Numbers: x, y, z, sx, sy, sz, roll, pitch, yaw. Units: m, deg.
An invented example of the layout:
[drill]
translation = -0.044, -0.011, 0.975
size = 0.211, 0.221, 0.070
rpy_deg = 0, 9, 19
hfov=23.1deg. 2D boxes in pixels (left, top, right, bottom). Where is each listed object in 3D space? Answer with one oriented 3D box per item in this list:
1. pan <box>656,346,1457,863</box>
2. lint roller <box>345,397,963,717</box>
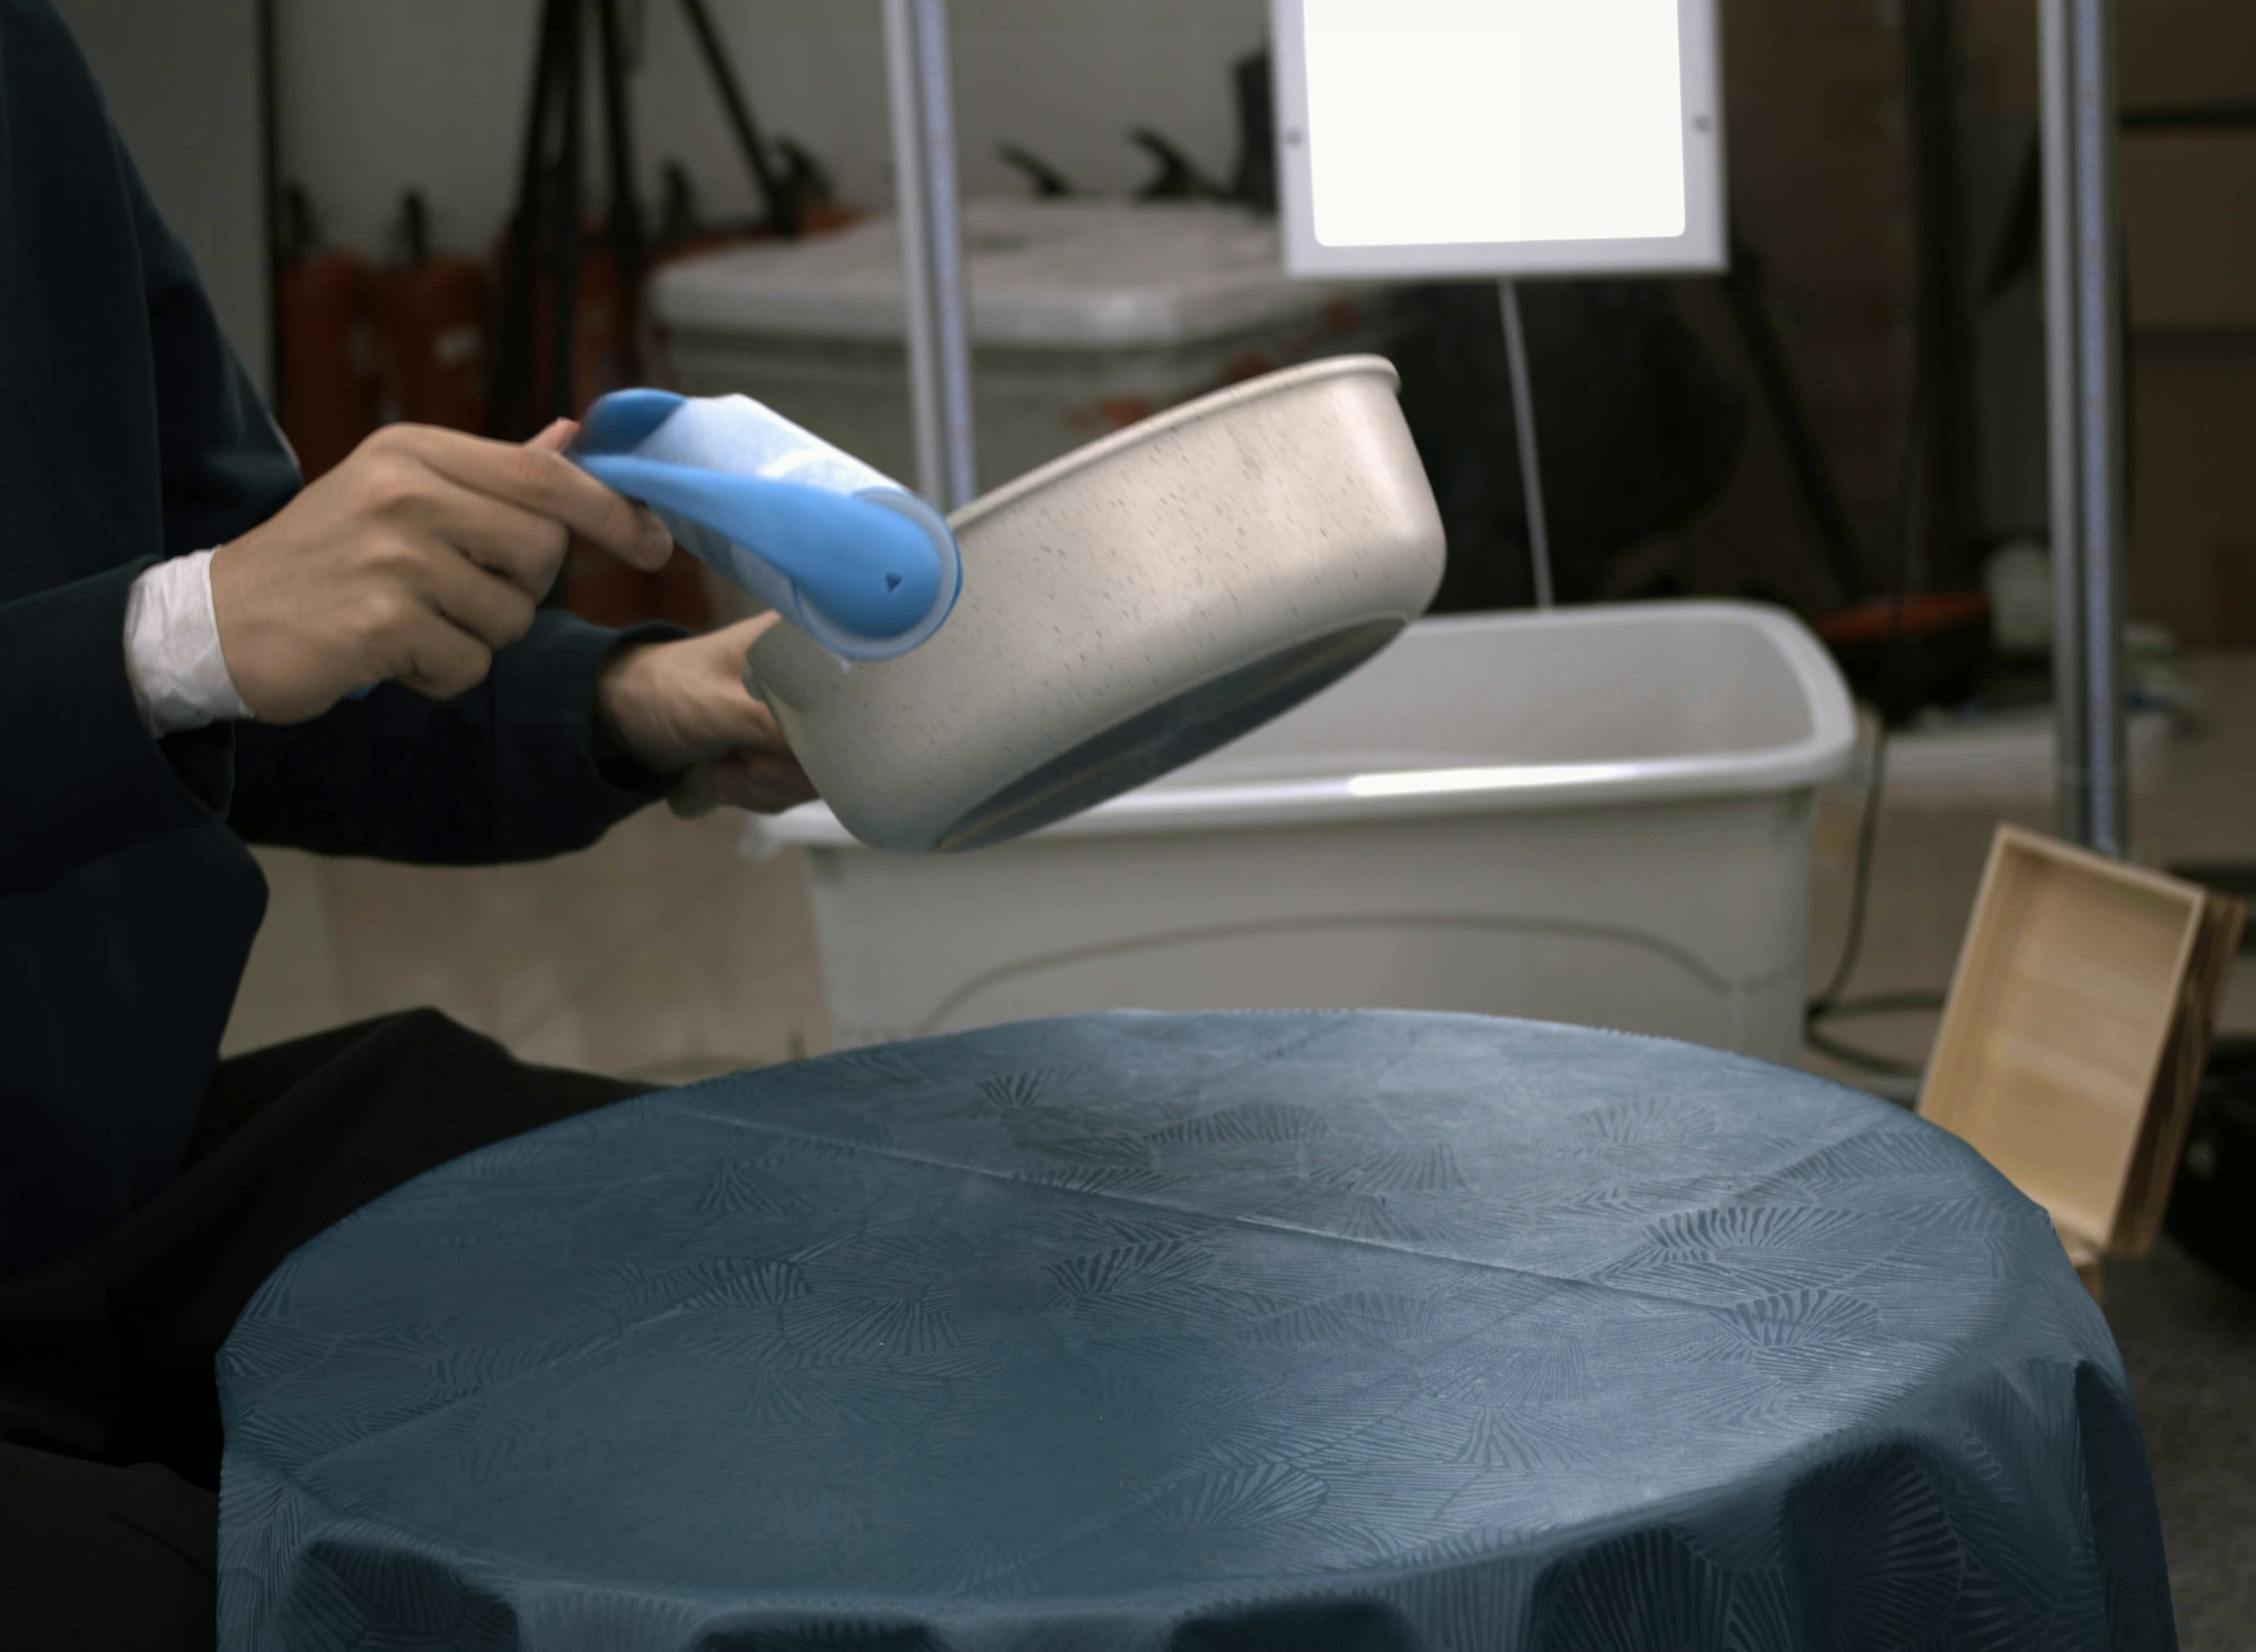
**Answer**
[pan]
translation = -0.047, -0.042, 1.970
size = 0.257, 0.102, 0.444
rpy_deg = -22, -8, -35
[lint roller]
translation = -0.160, -0.084, 1.719
size = 0.177, 0.068, 0.232
rpy_deg = -13, 17, -17
